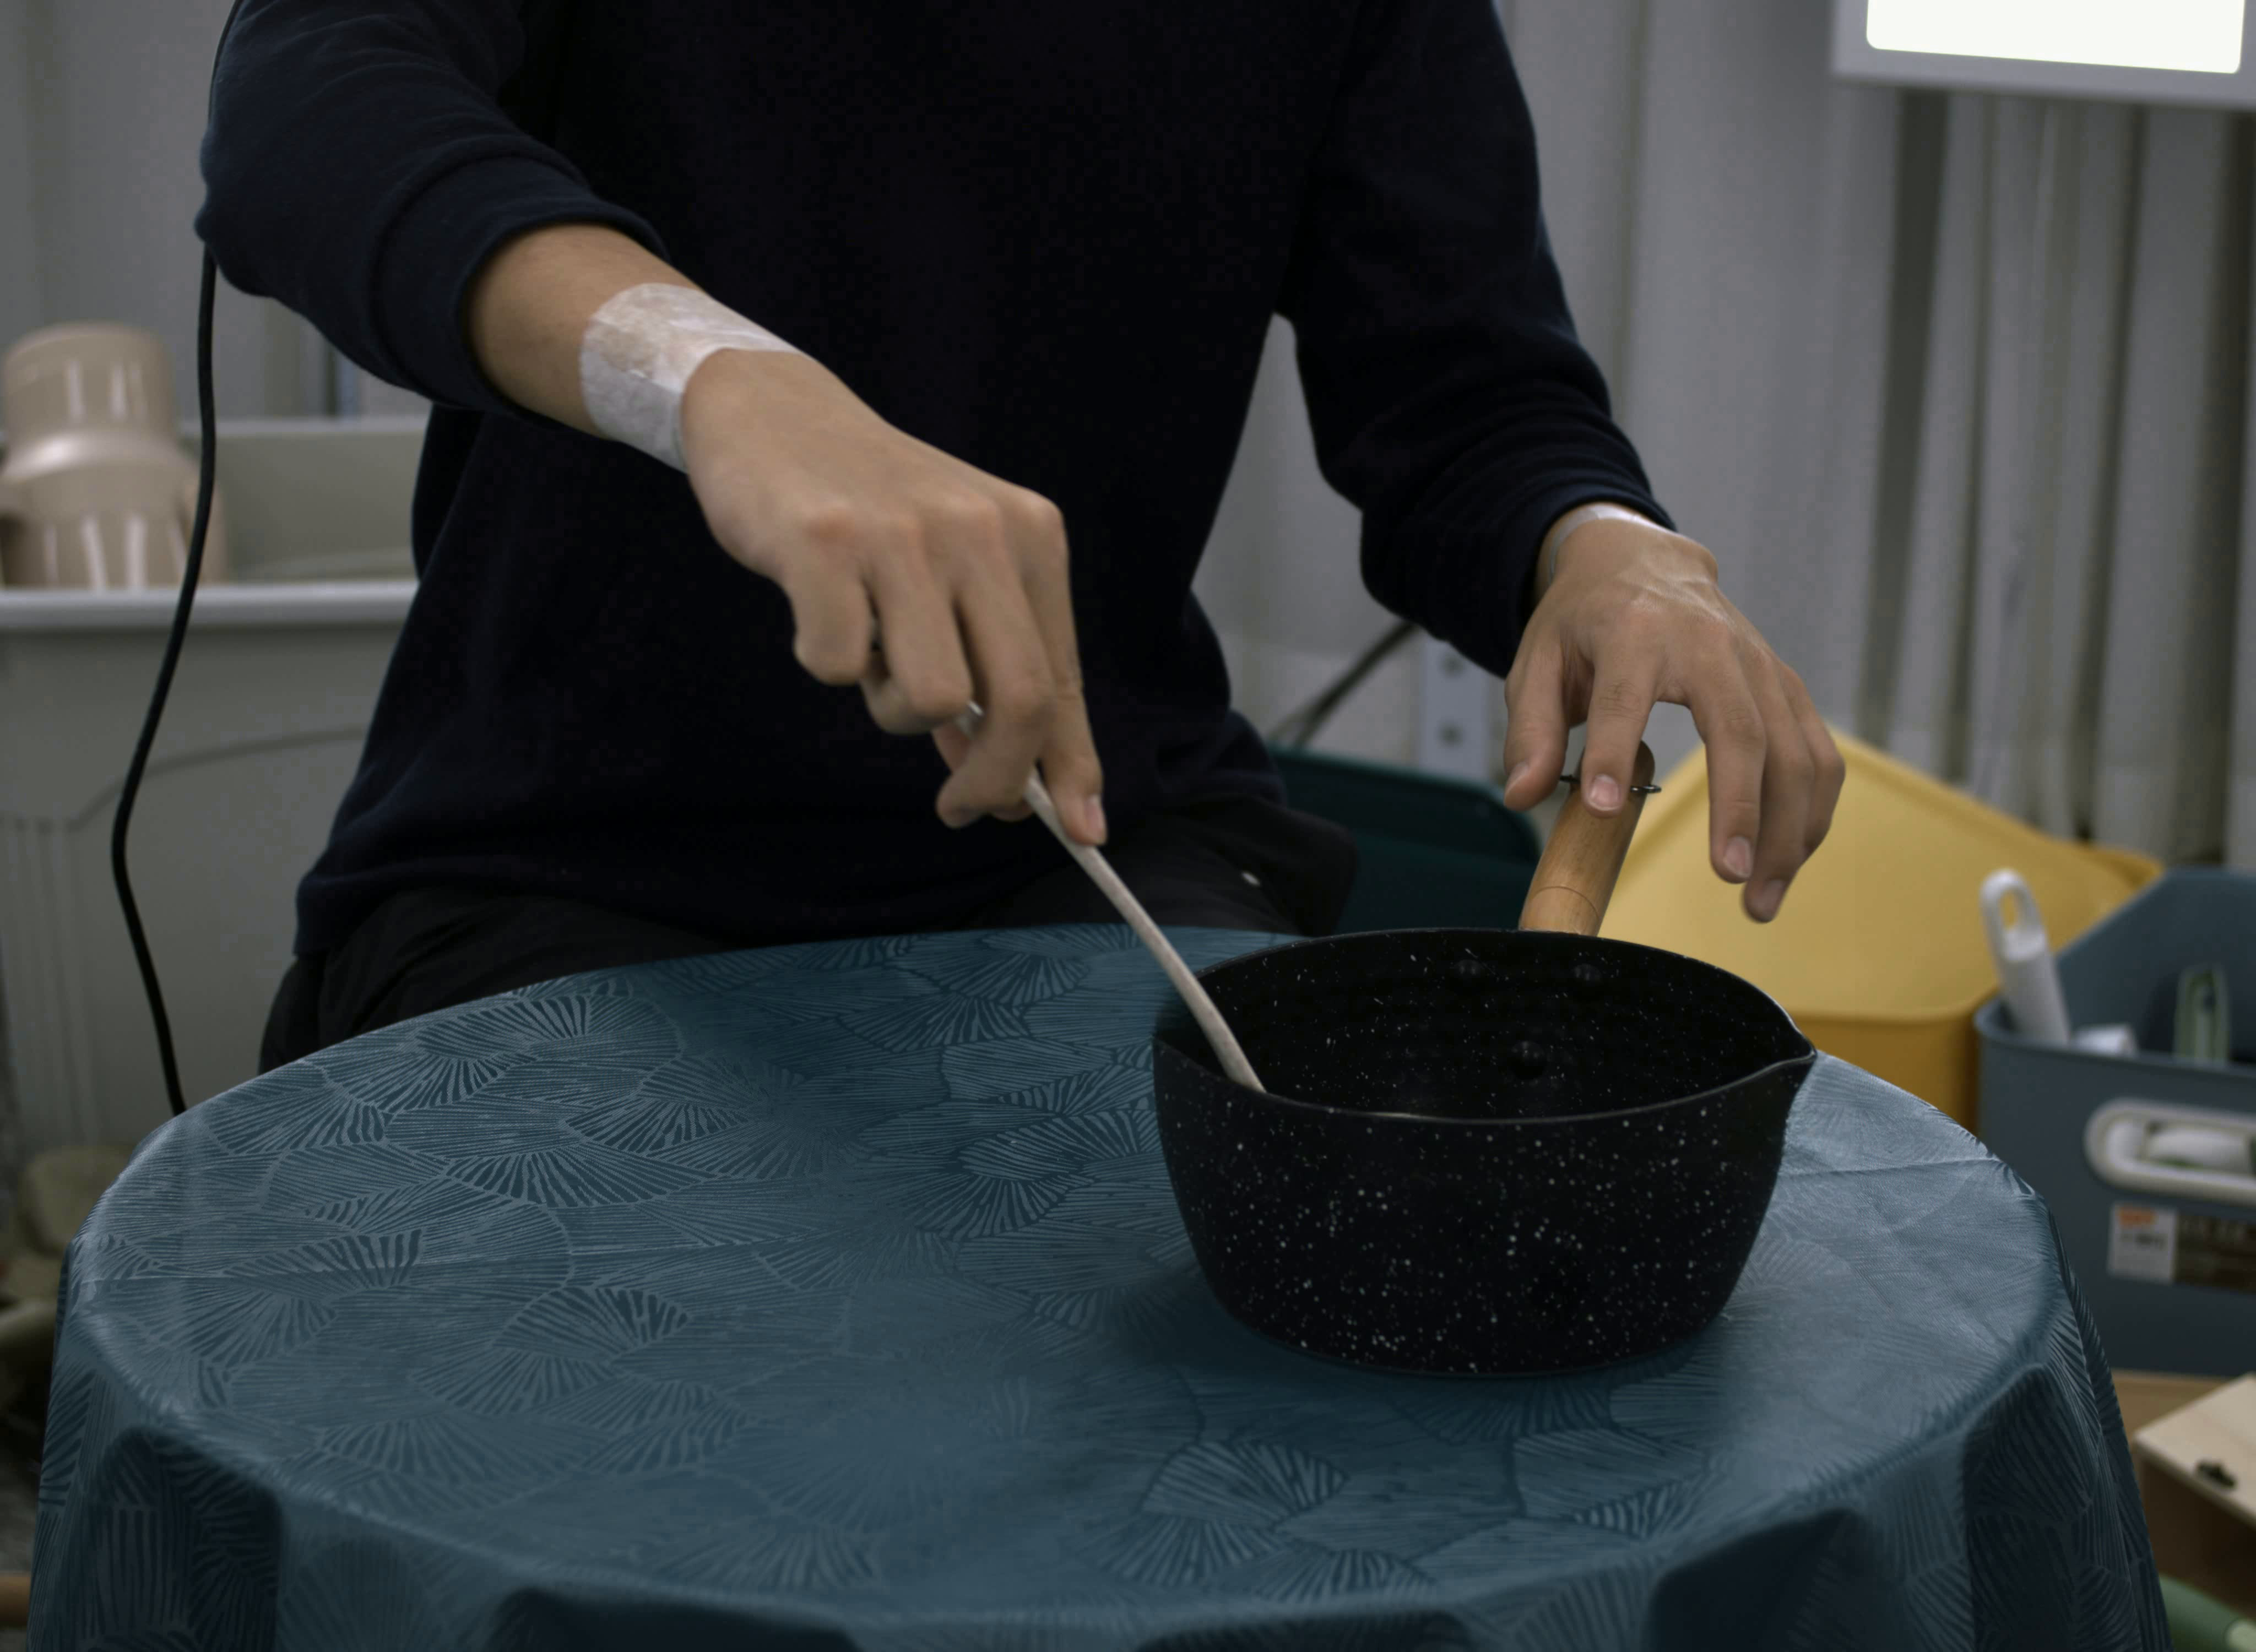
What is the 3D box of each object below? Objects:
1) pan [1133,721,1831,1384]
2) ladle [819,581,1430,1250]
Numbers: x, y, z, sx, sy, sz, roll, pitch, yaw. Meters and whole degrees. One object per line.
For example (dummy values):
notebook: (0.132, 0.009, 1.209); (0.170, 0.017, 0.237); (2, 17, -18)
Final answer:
pan: (0.118, 0.063, 1.600); (0.206, 0.109, 0.342); (3, 17, 13)
ladle: (0.019, 0.018, 1.449); (0.069, 0.278, 0.088); (-36, 26, 0)
